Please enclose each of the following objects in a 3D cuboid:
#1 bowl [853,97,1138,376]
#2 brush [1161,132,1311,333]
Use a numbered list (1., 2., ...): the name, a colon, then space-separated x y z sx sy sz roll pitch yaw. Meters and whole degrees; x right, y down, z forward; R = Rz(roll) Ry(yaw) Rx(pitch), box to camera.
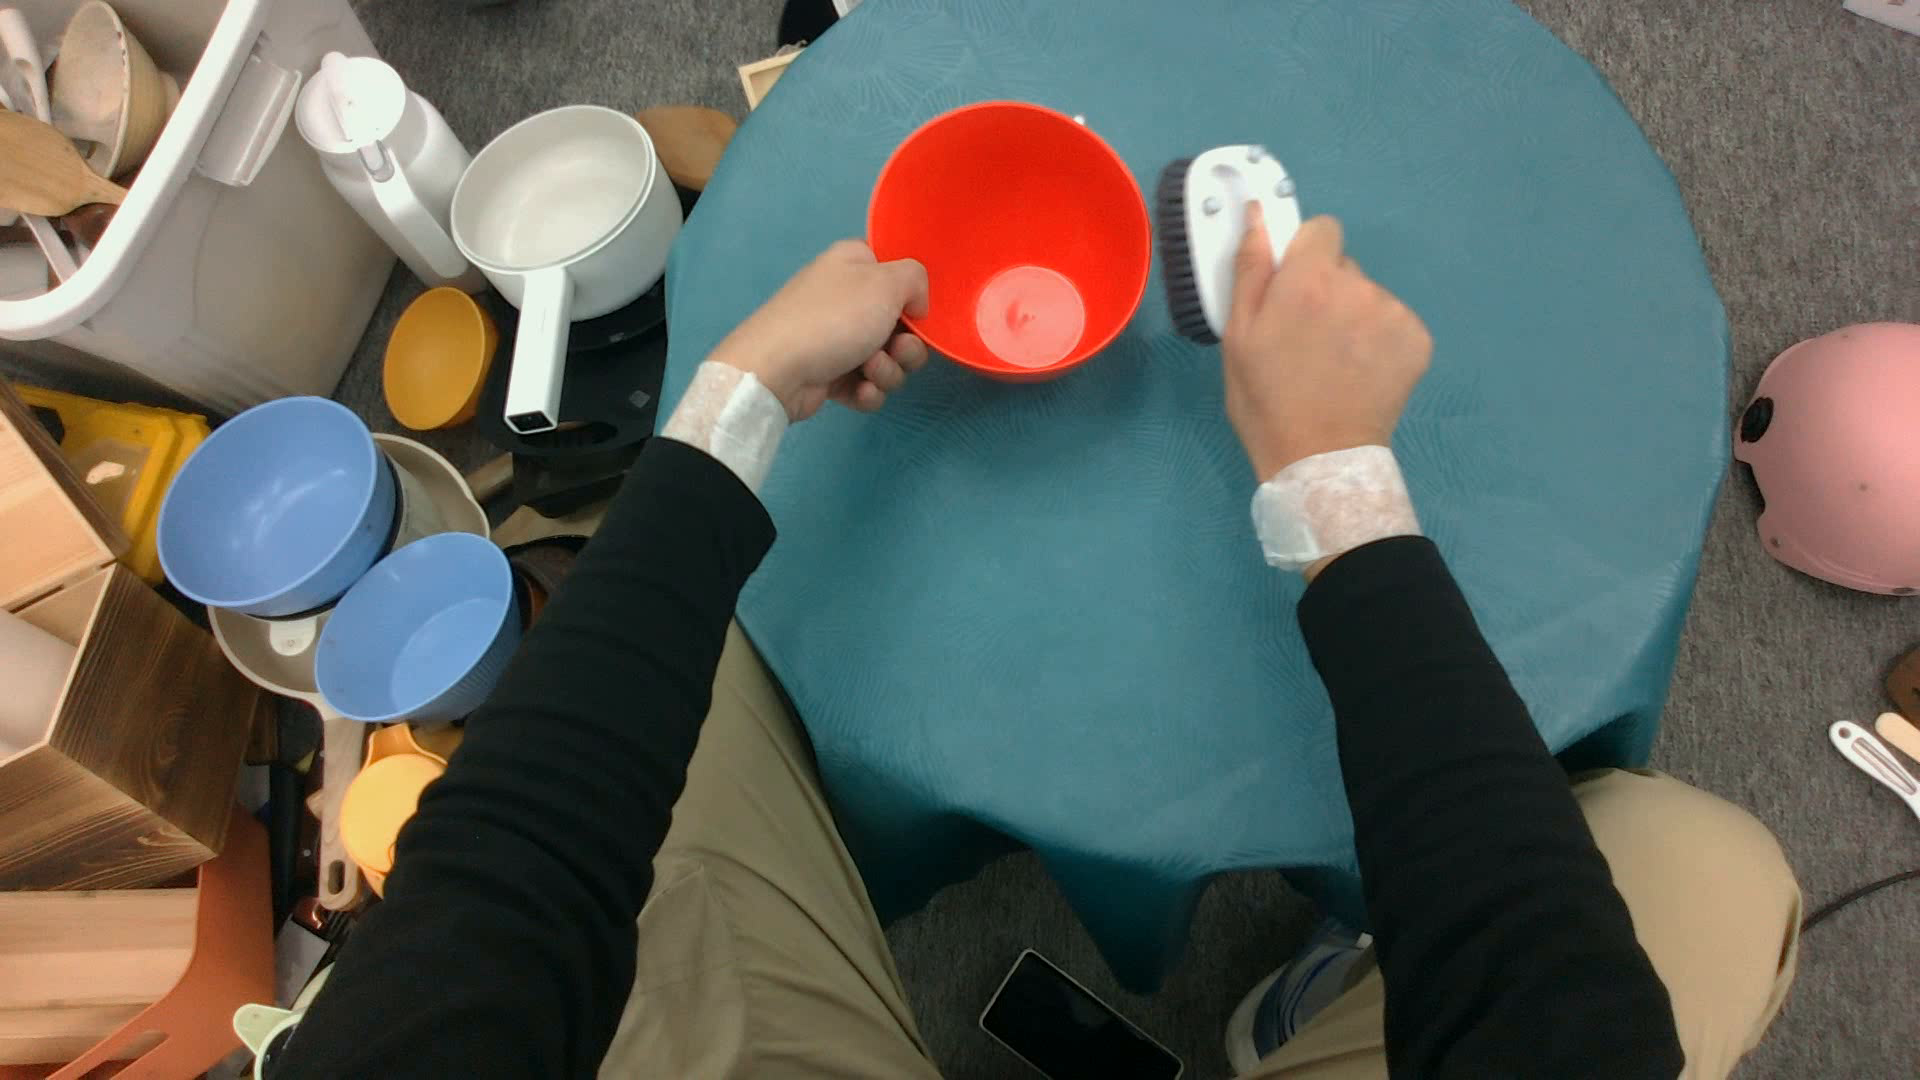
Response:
1. bowl: 0.021 -0.151 0.752 0.148 0.104 0.148 -1 75 2
2. brush: 0.142 -0.152 0.681 0.050 0.072 0.099 -10 102 -31
